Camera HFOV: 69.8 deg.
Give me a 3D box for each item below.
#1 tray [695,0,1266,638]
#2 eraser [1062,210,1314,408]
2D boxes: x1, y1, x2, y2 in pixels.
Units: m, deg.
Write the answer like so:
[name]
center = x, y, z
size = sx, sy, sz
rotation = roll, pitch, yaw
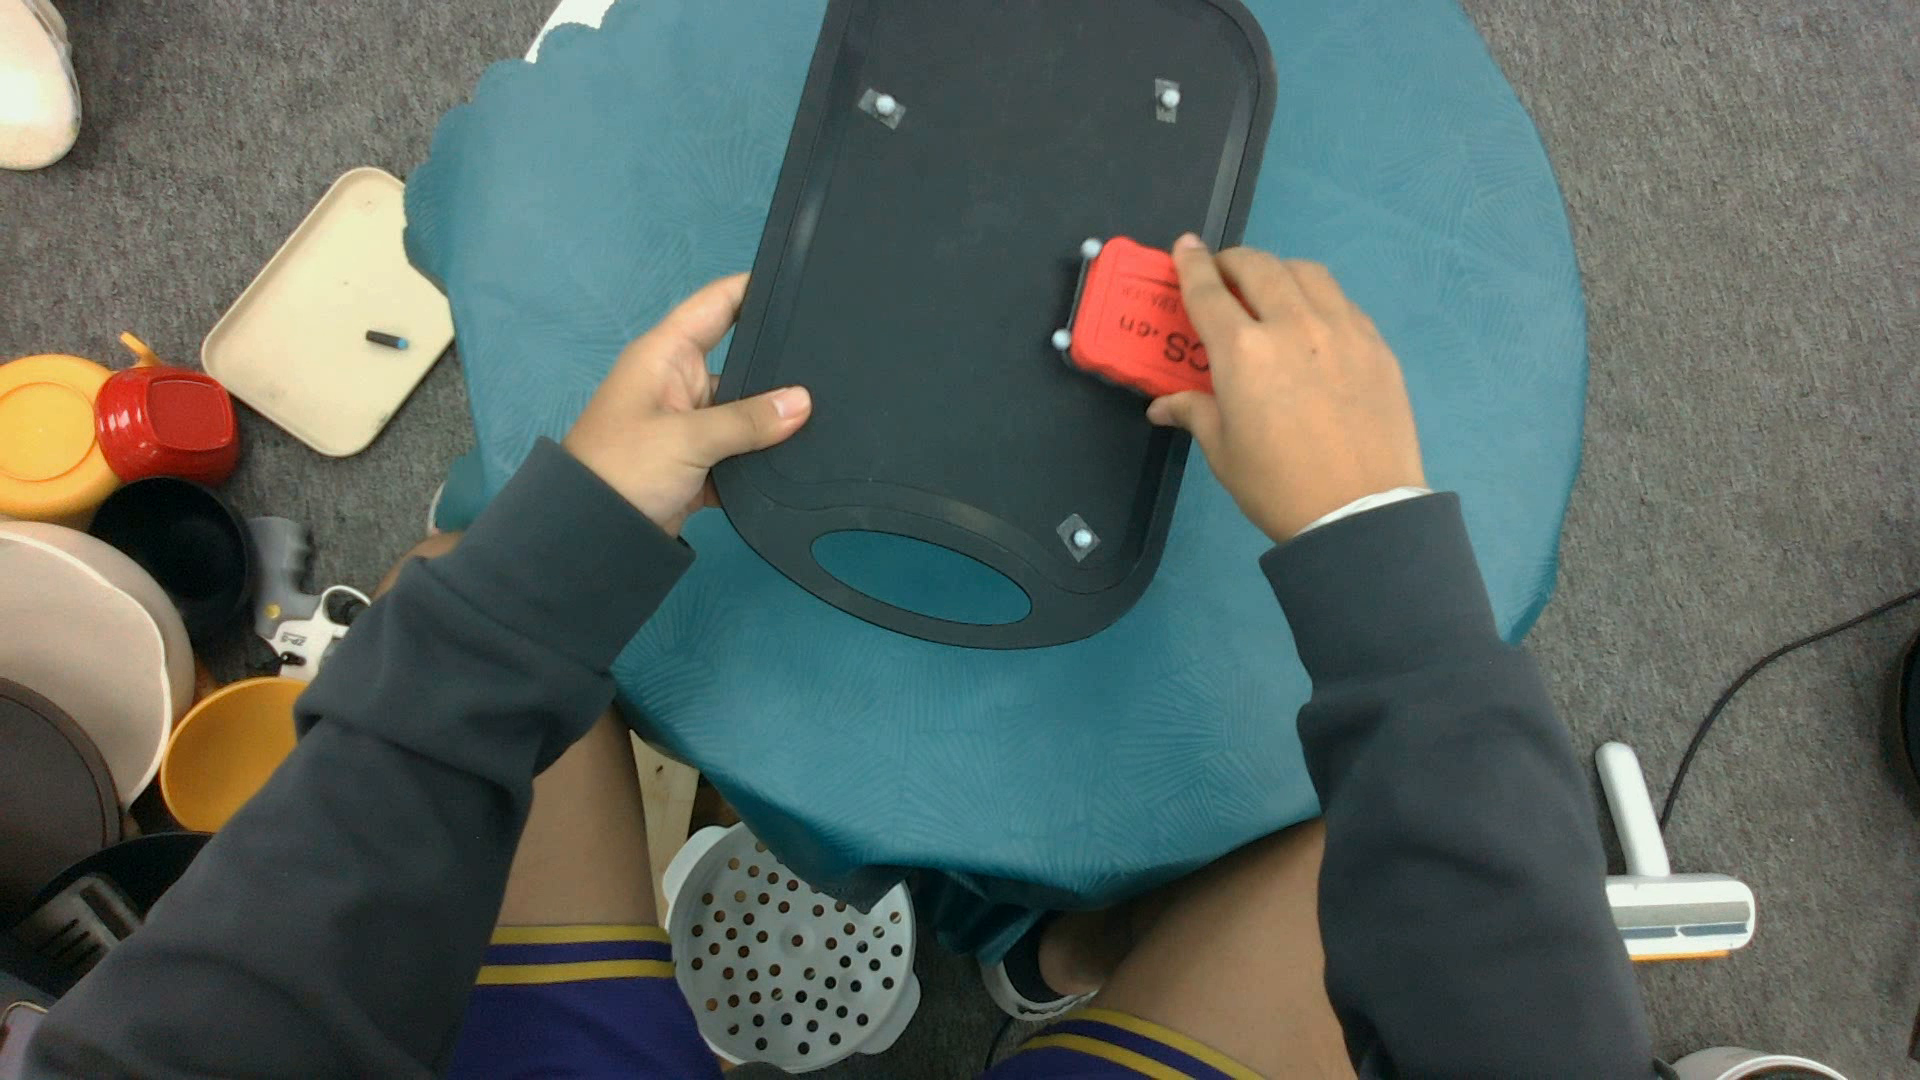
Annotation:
[tray]
center = 0.017, -0.120, 0.596
size = 0.211, 0.010, 0.326
rotation = 18, 83, -18
[eraser]
center = 0.102, -0.101, 0.611
size = 0.108, 0.023, 0.059
rotation = 19, 83, -17
